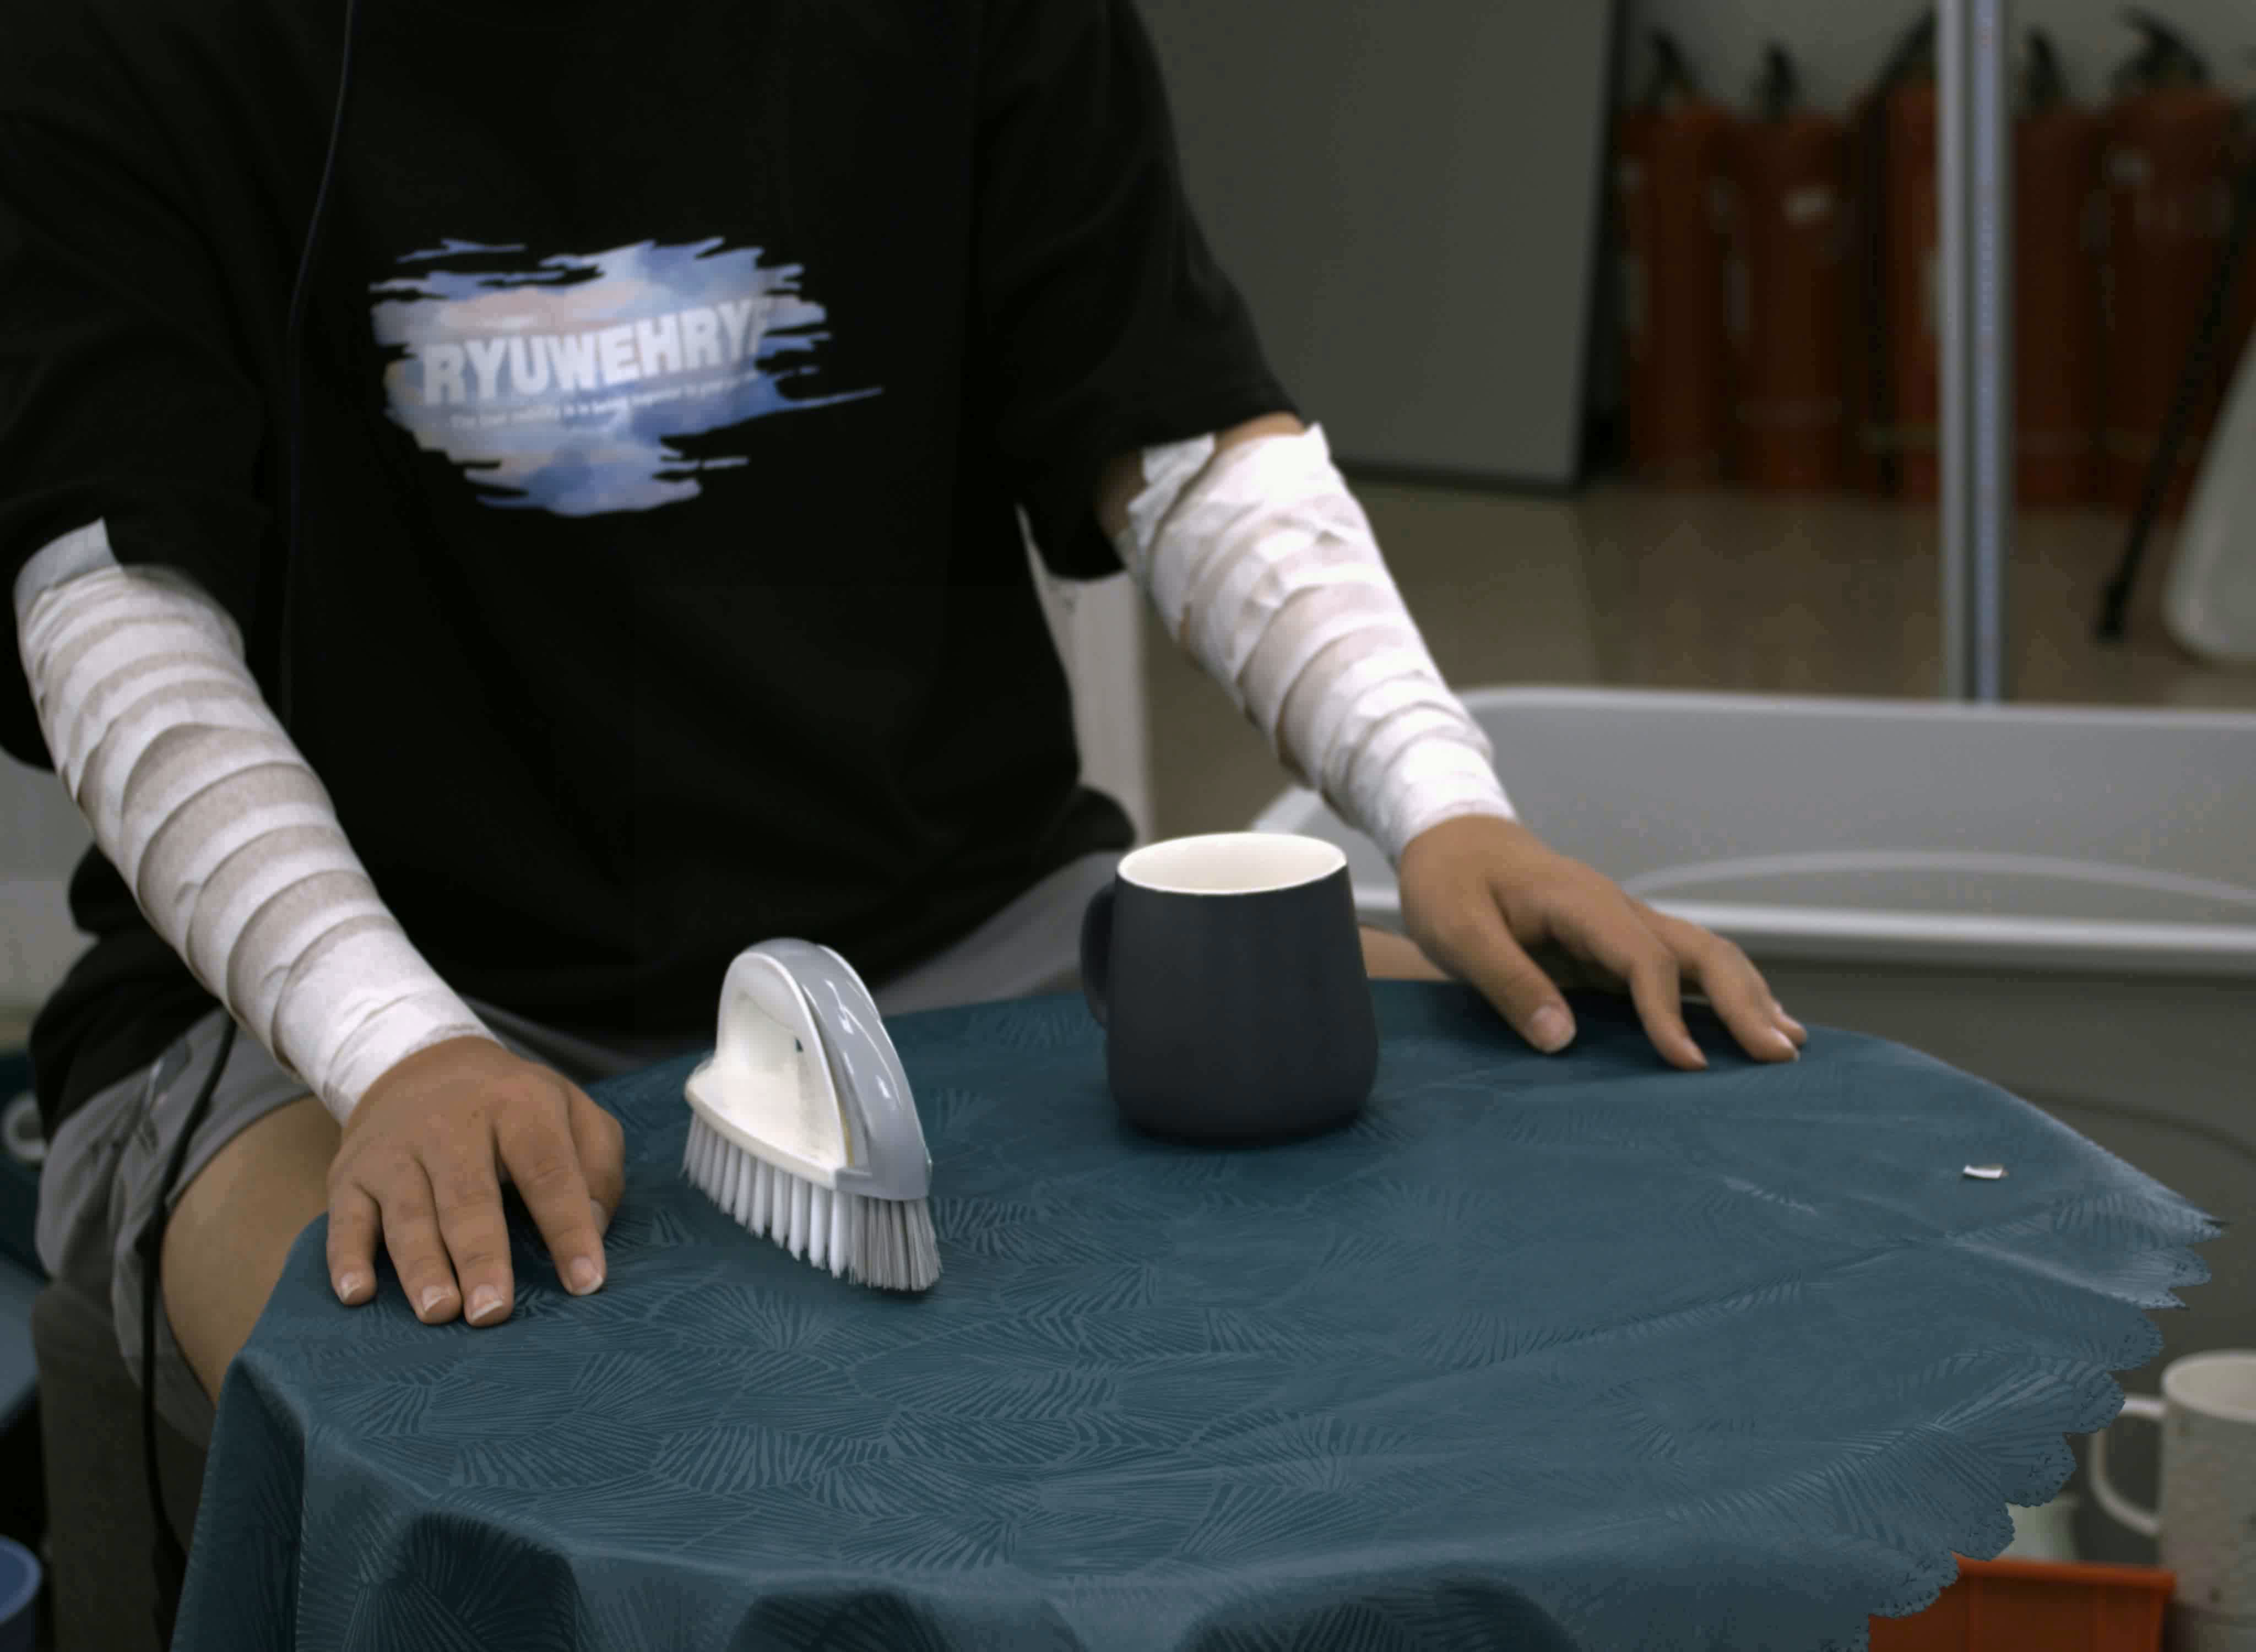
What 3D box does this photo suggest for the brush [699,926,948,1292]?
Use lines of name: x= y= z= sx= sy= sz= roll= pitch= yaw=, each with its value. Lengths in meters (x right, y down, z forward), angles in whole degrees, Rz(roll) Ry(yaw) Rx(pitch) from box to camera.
brush: x=-0.094 y=0.087 z=1.749 sx=0.060 sy=0.095 sz=0.177 roll=-10 pitch=16 yaw=-18

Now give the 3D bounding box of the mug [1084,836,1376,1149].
mug: x=0.028 y=0.054 z=1.849 sx=0.091 sy=0.091 sz=0.124 roll=-13 pitch=16 yaw=-37
